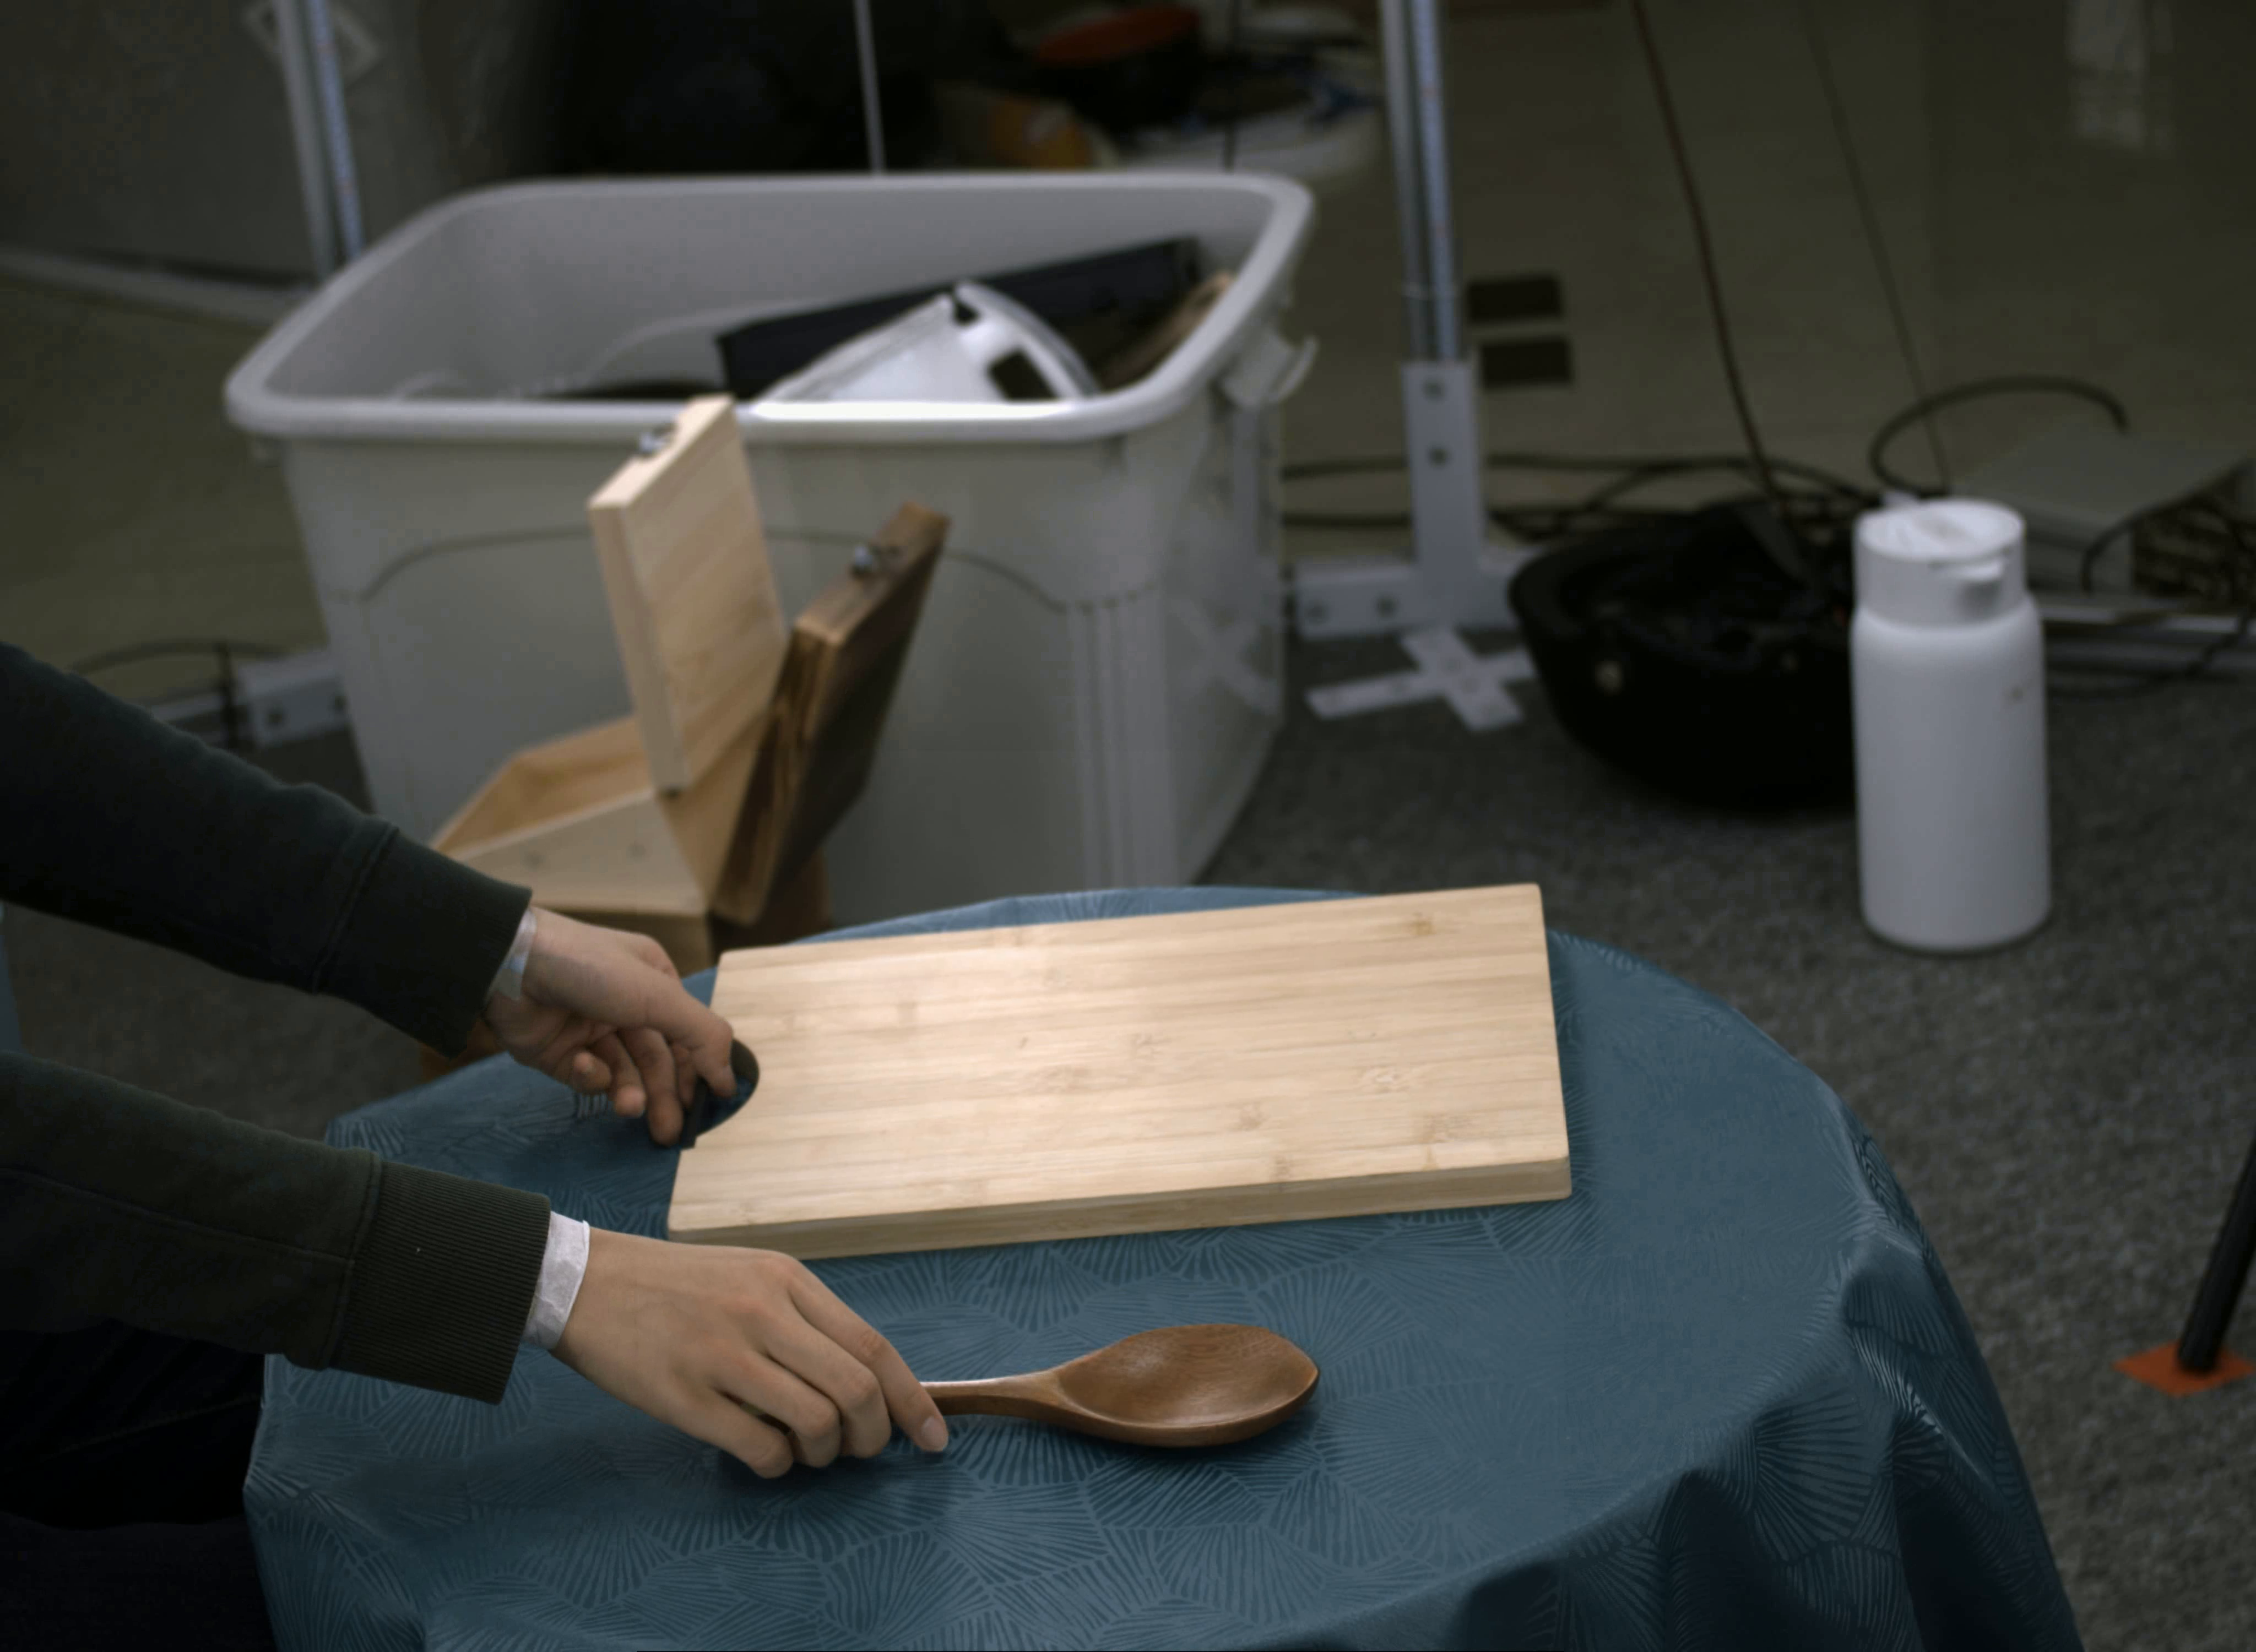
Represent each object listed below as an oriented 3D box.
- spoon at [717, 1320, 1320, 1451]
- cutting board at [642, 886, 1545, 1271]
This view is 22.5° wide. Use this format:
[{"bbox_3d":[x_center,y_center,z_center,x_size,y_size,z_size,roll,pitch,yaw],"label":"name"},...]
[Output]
[{"bbox_3d":[-0.039,0.202,2.007,0.215,0.017,0.074,-2,27,8],"label":"spoon"},{"bbox_3d":[-0.008,0.097,2.226,0.348,0.024,0.247,-5,24,3],"label":"cutting board"}]
